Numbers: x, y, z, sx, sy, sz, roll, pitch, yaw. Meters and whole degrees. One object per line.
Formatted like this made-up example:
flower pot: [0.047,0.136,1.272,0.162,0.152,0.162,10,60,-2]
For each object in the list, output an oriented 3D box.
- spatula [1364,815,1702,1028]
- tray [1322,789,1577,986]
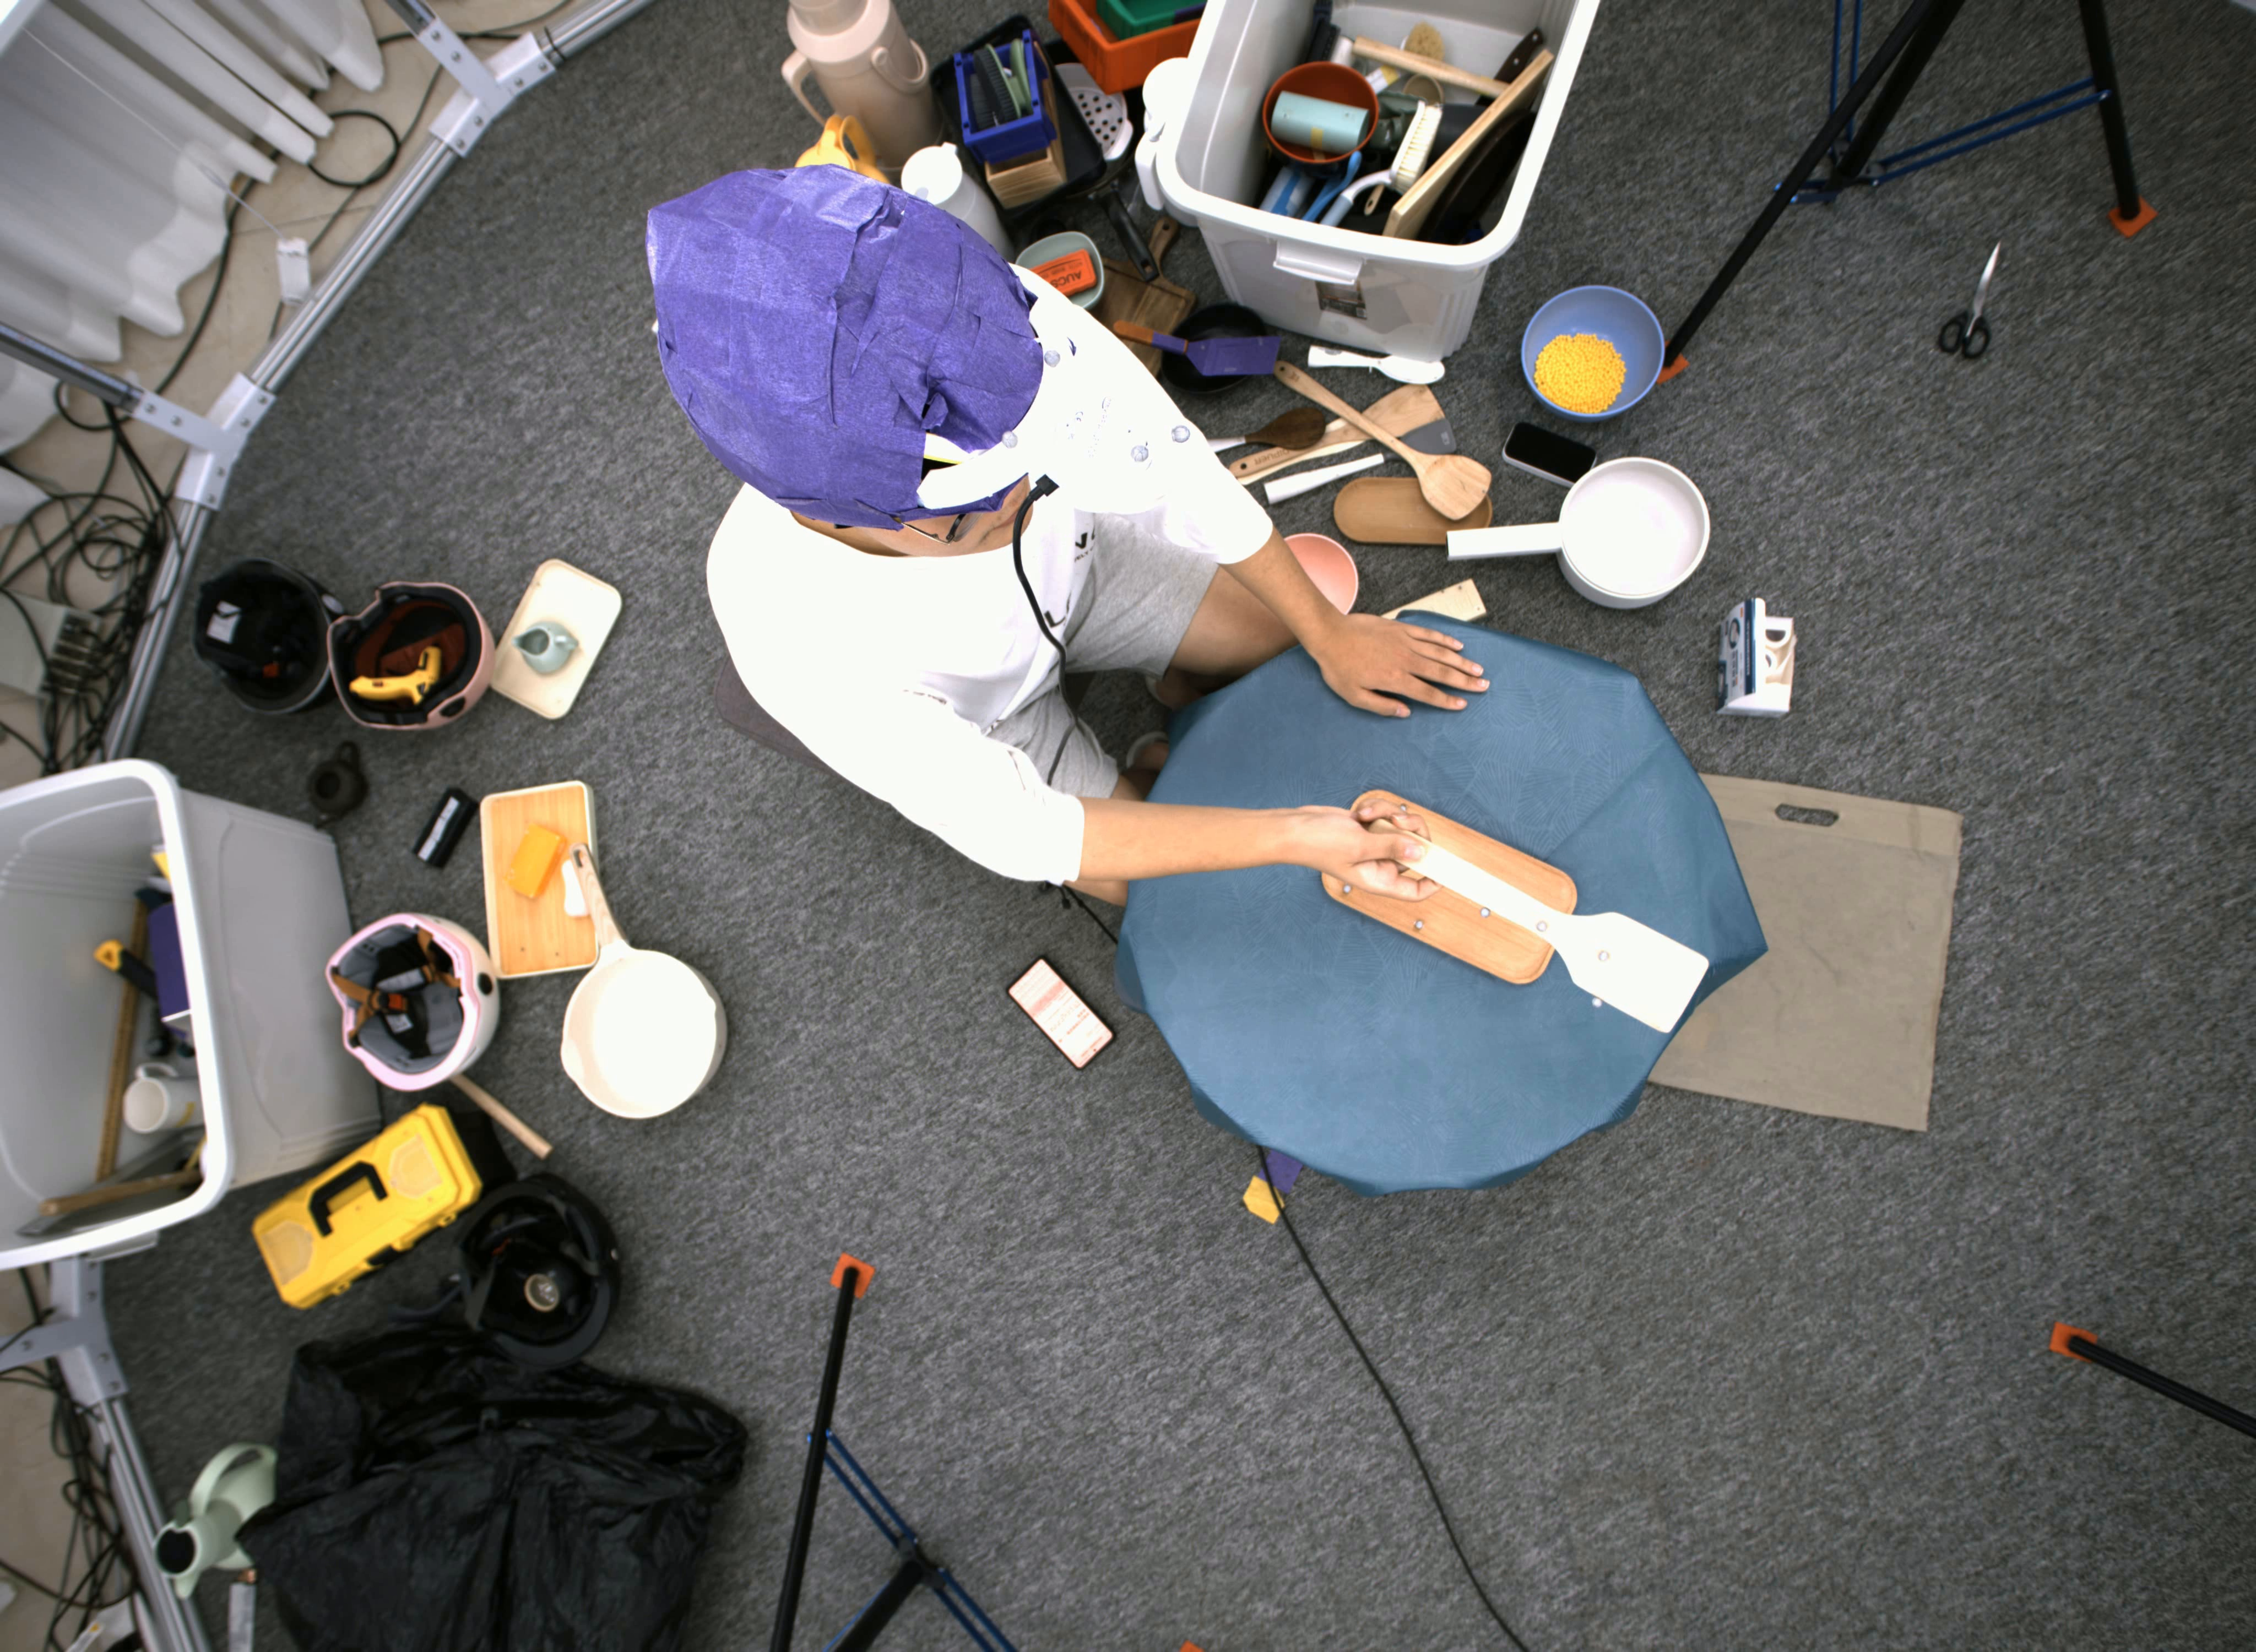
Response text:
spatula: [0.328,0.067,1.150,0.292,0.010,0.073,29,105,18]
tray: [0.334,0.062,1.440,0.250,0.023,0.131,27,94,11]
